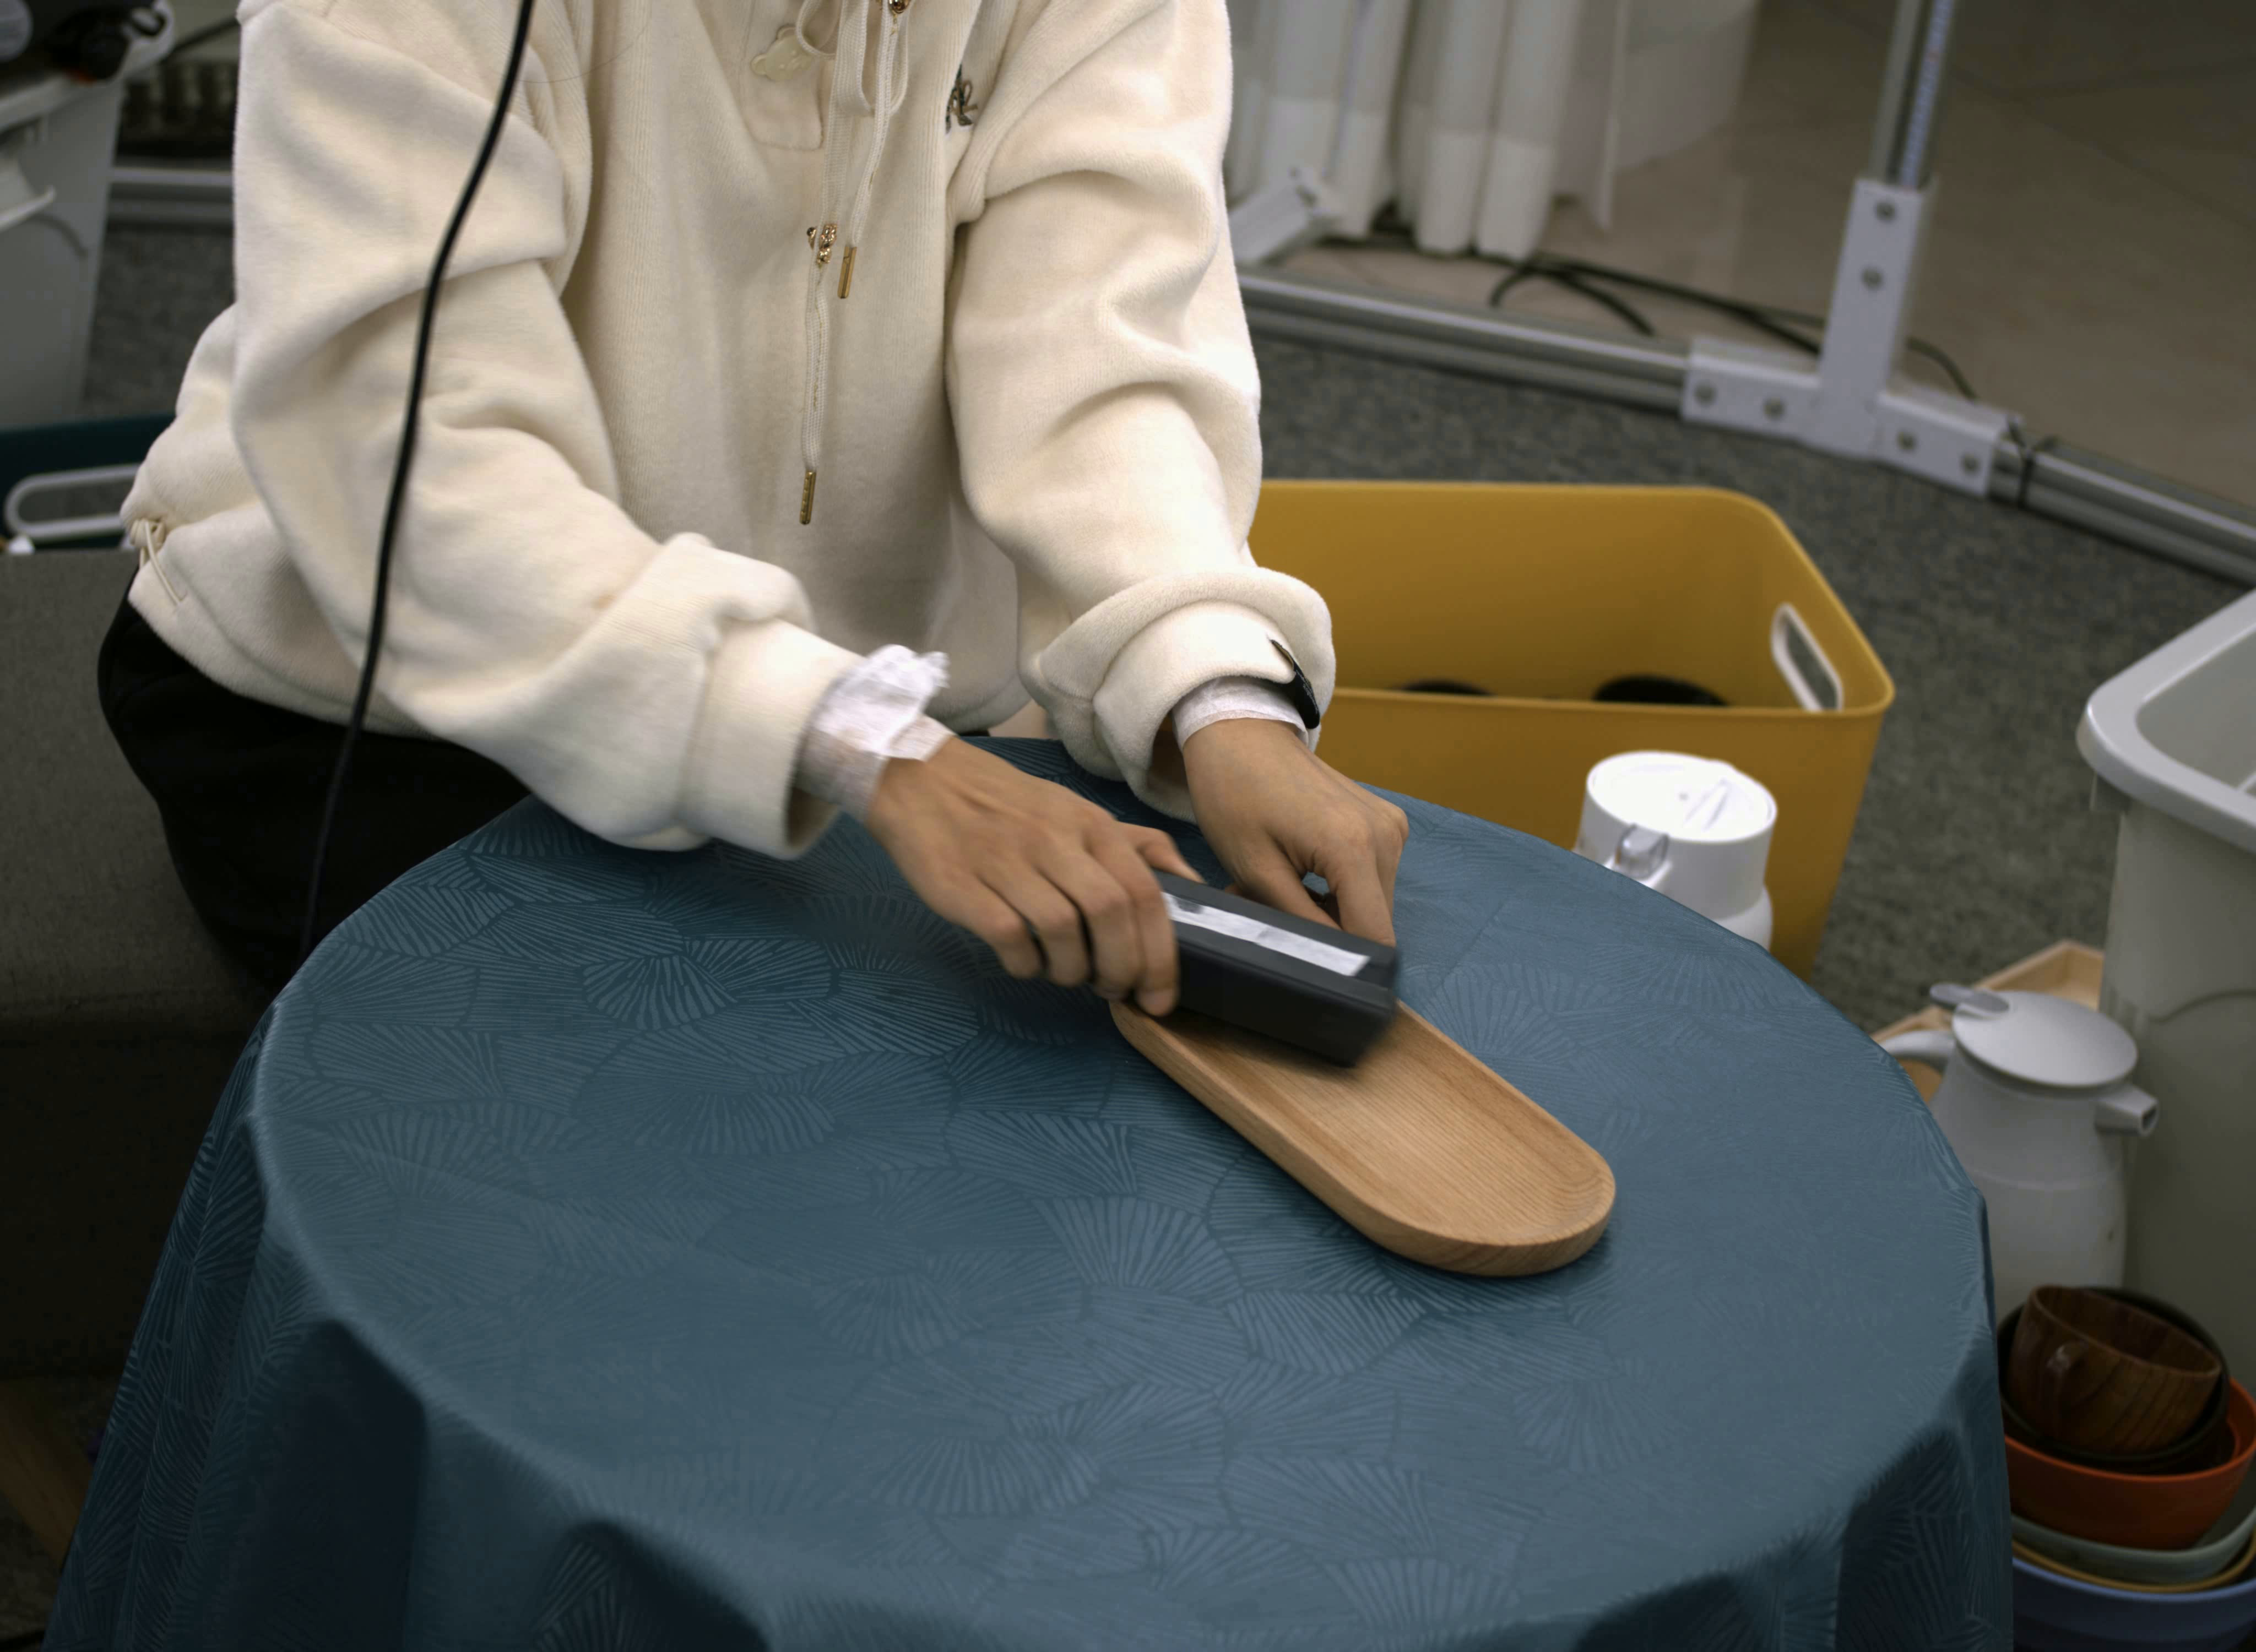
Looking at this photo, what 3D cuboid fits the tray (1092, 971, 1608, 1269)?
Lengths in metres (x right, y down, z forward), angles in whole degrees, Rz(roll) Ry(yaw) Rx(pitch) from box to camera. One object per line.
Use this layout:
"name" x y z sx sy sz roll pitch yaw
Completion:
"tray" 0.075 0.093 1.860 0.101 0.020 0.233 -11 30 -35

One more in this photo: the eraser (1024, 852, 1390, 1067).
"eraser" 0.029 0.047 1.896 0.126 0.030 0.053 19 22 12
